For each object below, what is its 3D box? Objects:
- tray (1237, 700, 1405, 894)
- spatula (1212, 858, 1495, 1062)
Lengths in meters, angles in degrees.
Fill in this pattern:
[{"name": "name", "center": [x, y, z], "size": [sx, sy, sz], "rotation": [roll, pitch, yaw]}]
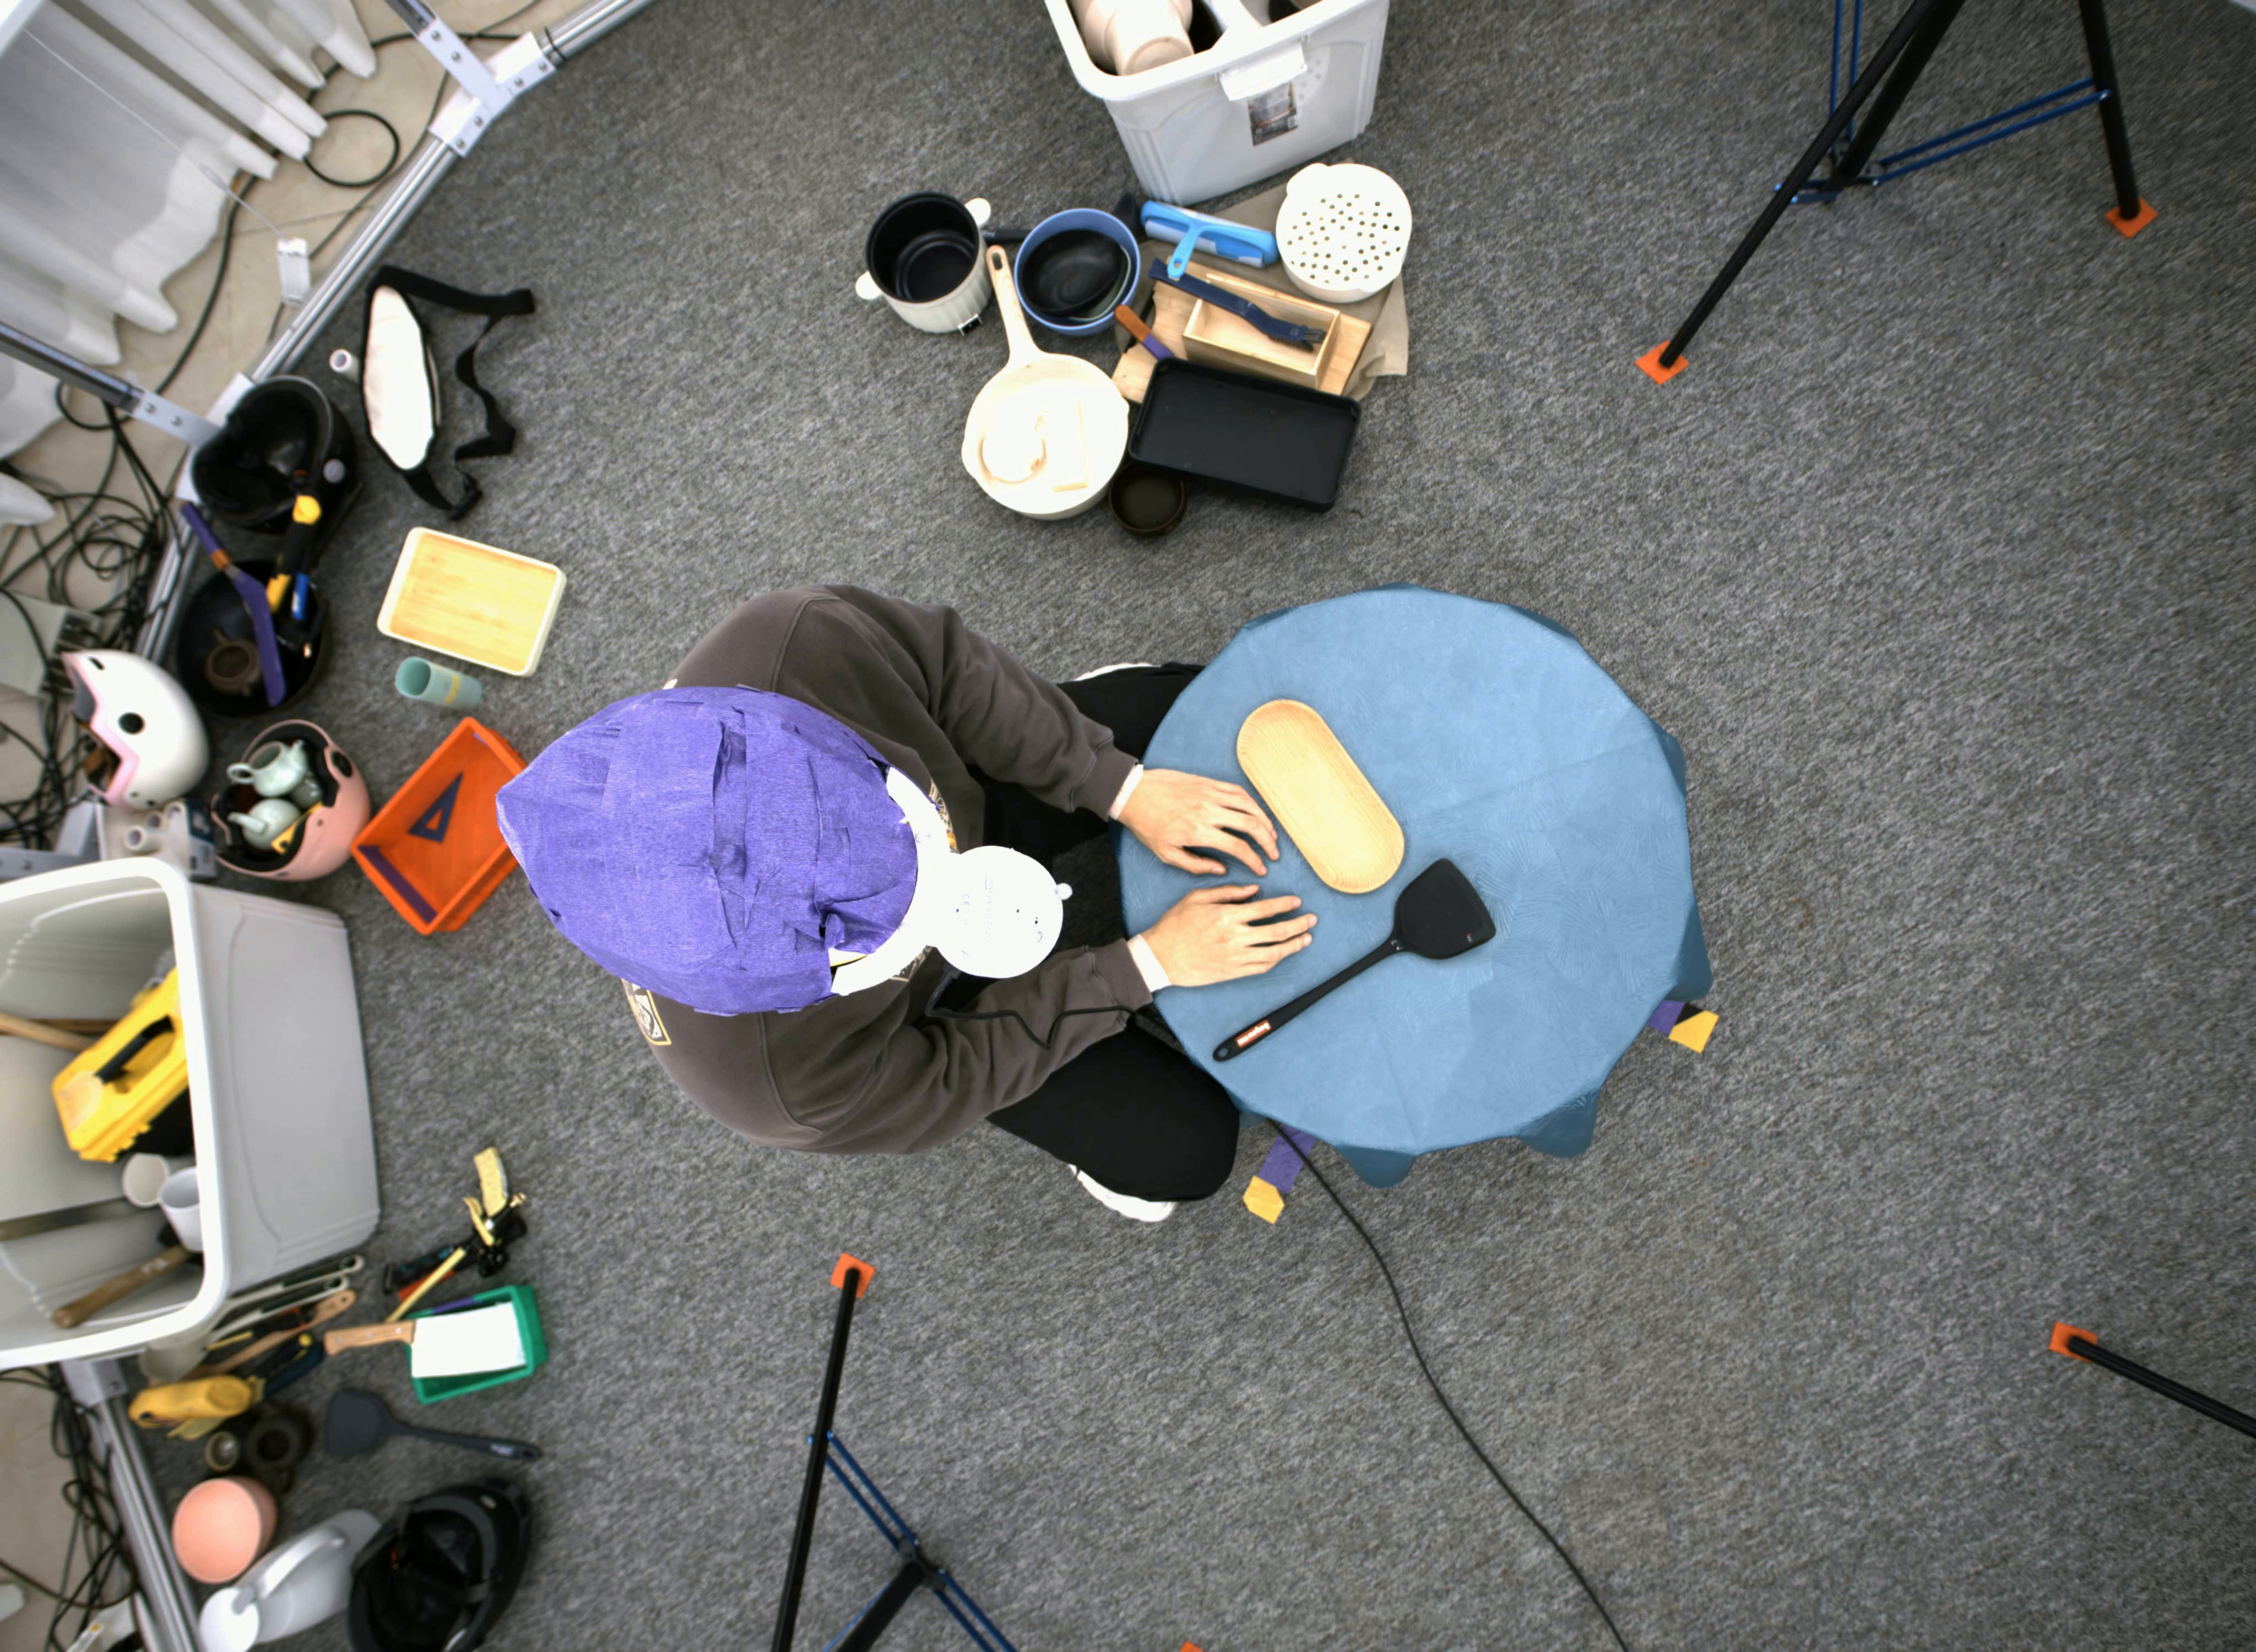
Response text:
[{"name": "tray", "center": [0.204, -0.032, 1.467], "size": [0.102, 0.020, 0.230], "rotation": [-36, 83, 7]}, {"name": "spatula", "center": [0.223, 0.156, 1.444], "size": [0.328, 0.040, 0.099], "rotation": [-33, 80, 7]}]
